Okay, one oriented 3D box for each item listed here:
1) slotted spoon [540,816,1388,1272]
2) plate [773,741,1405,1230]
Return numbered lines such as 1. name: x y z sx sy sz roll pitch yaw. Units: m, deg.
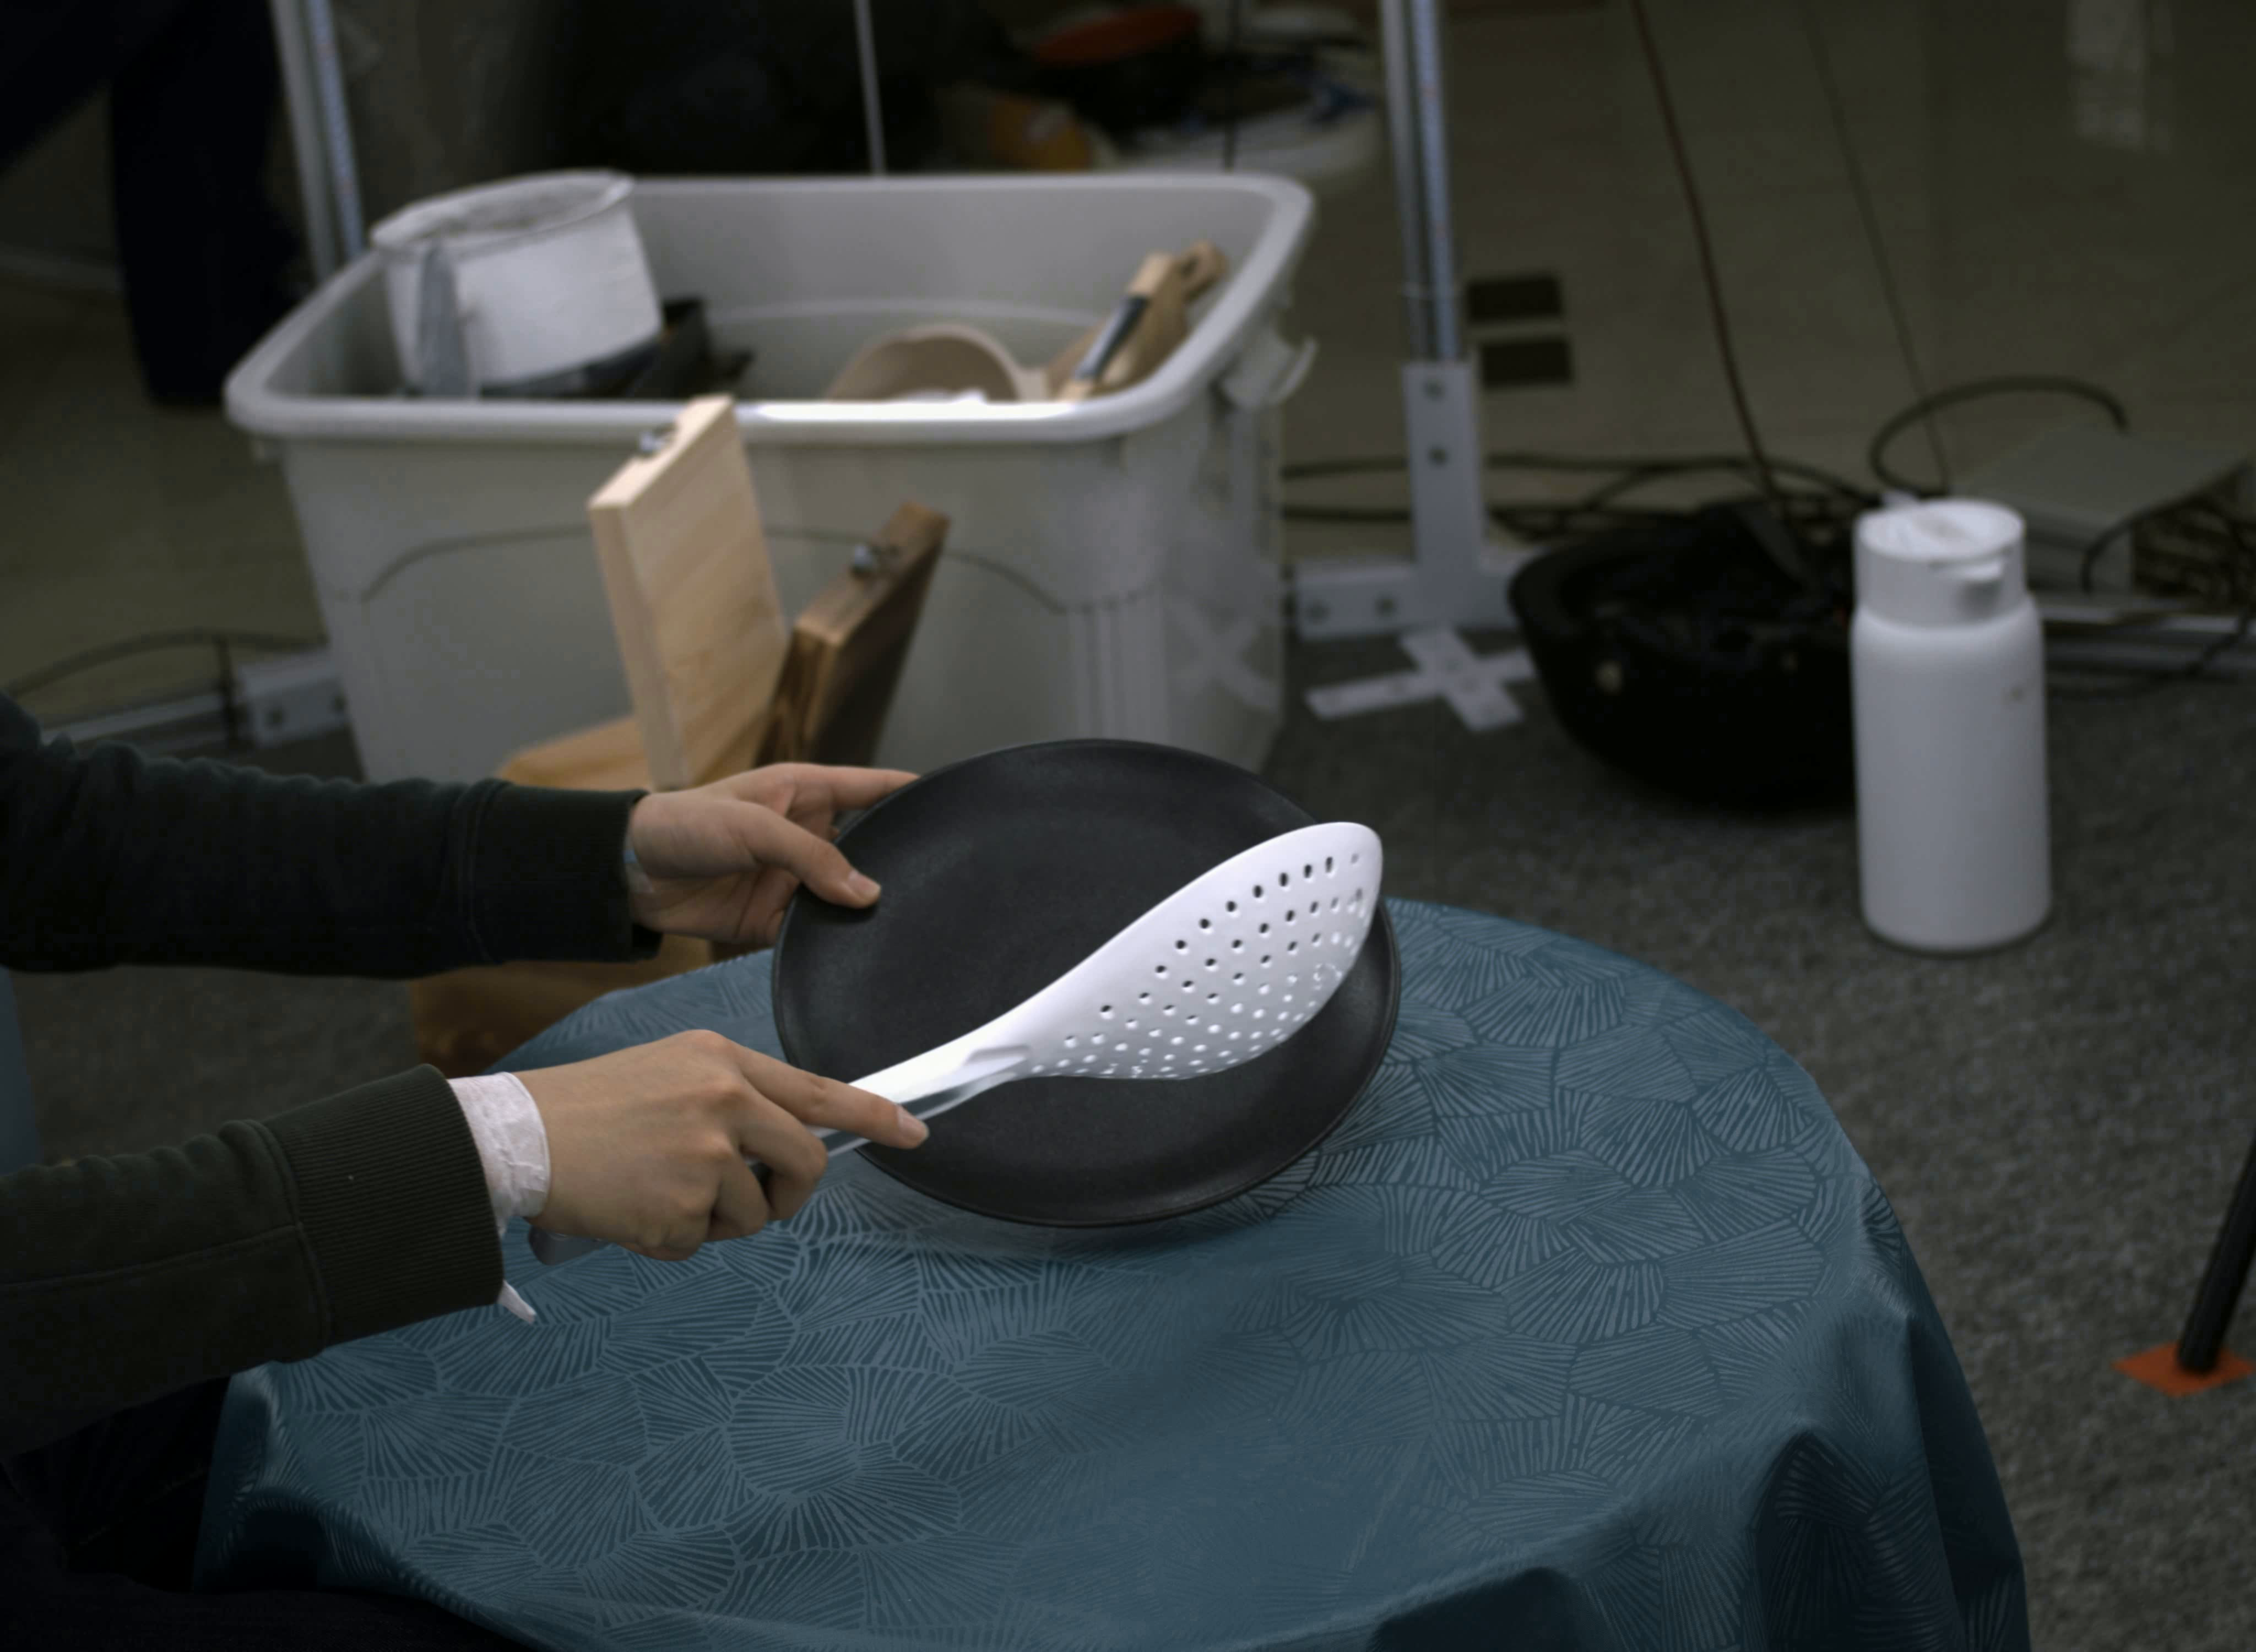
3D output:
1. slotted spoon: -0.049 0.081 1.957 0.348 0.138 0.045 -17 62 -27
2. plate: -0.015 0.064 2.186 0.244 0.024 0.240 0 50 0
